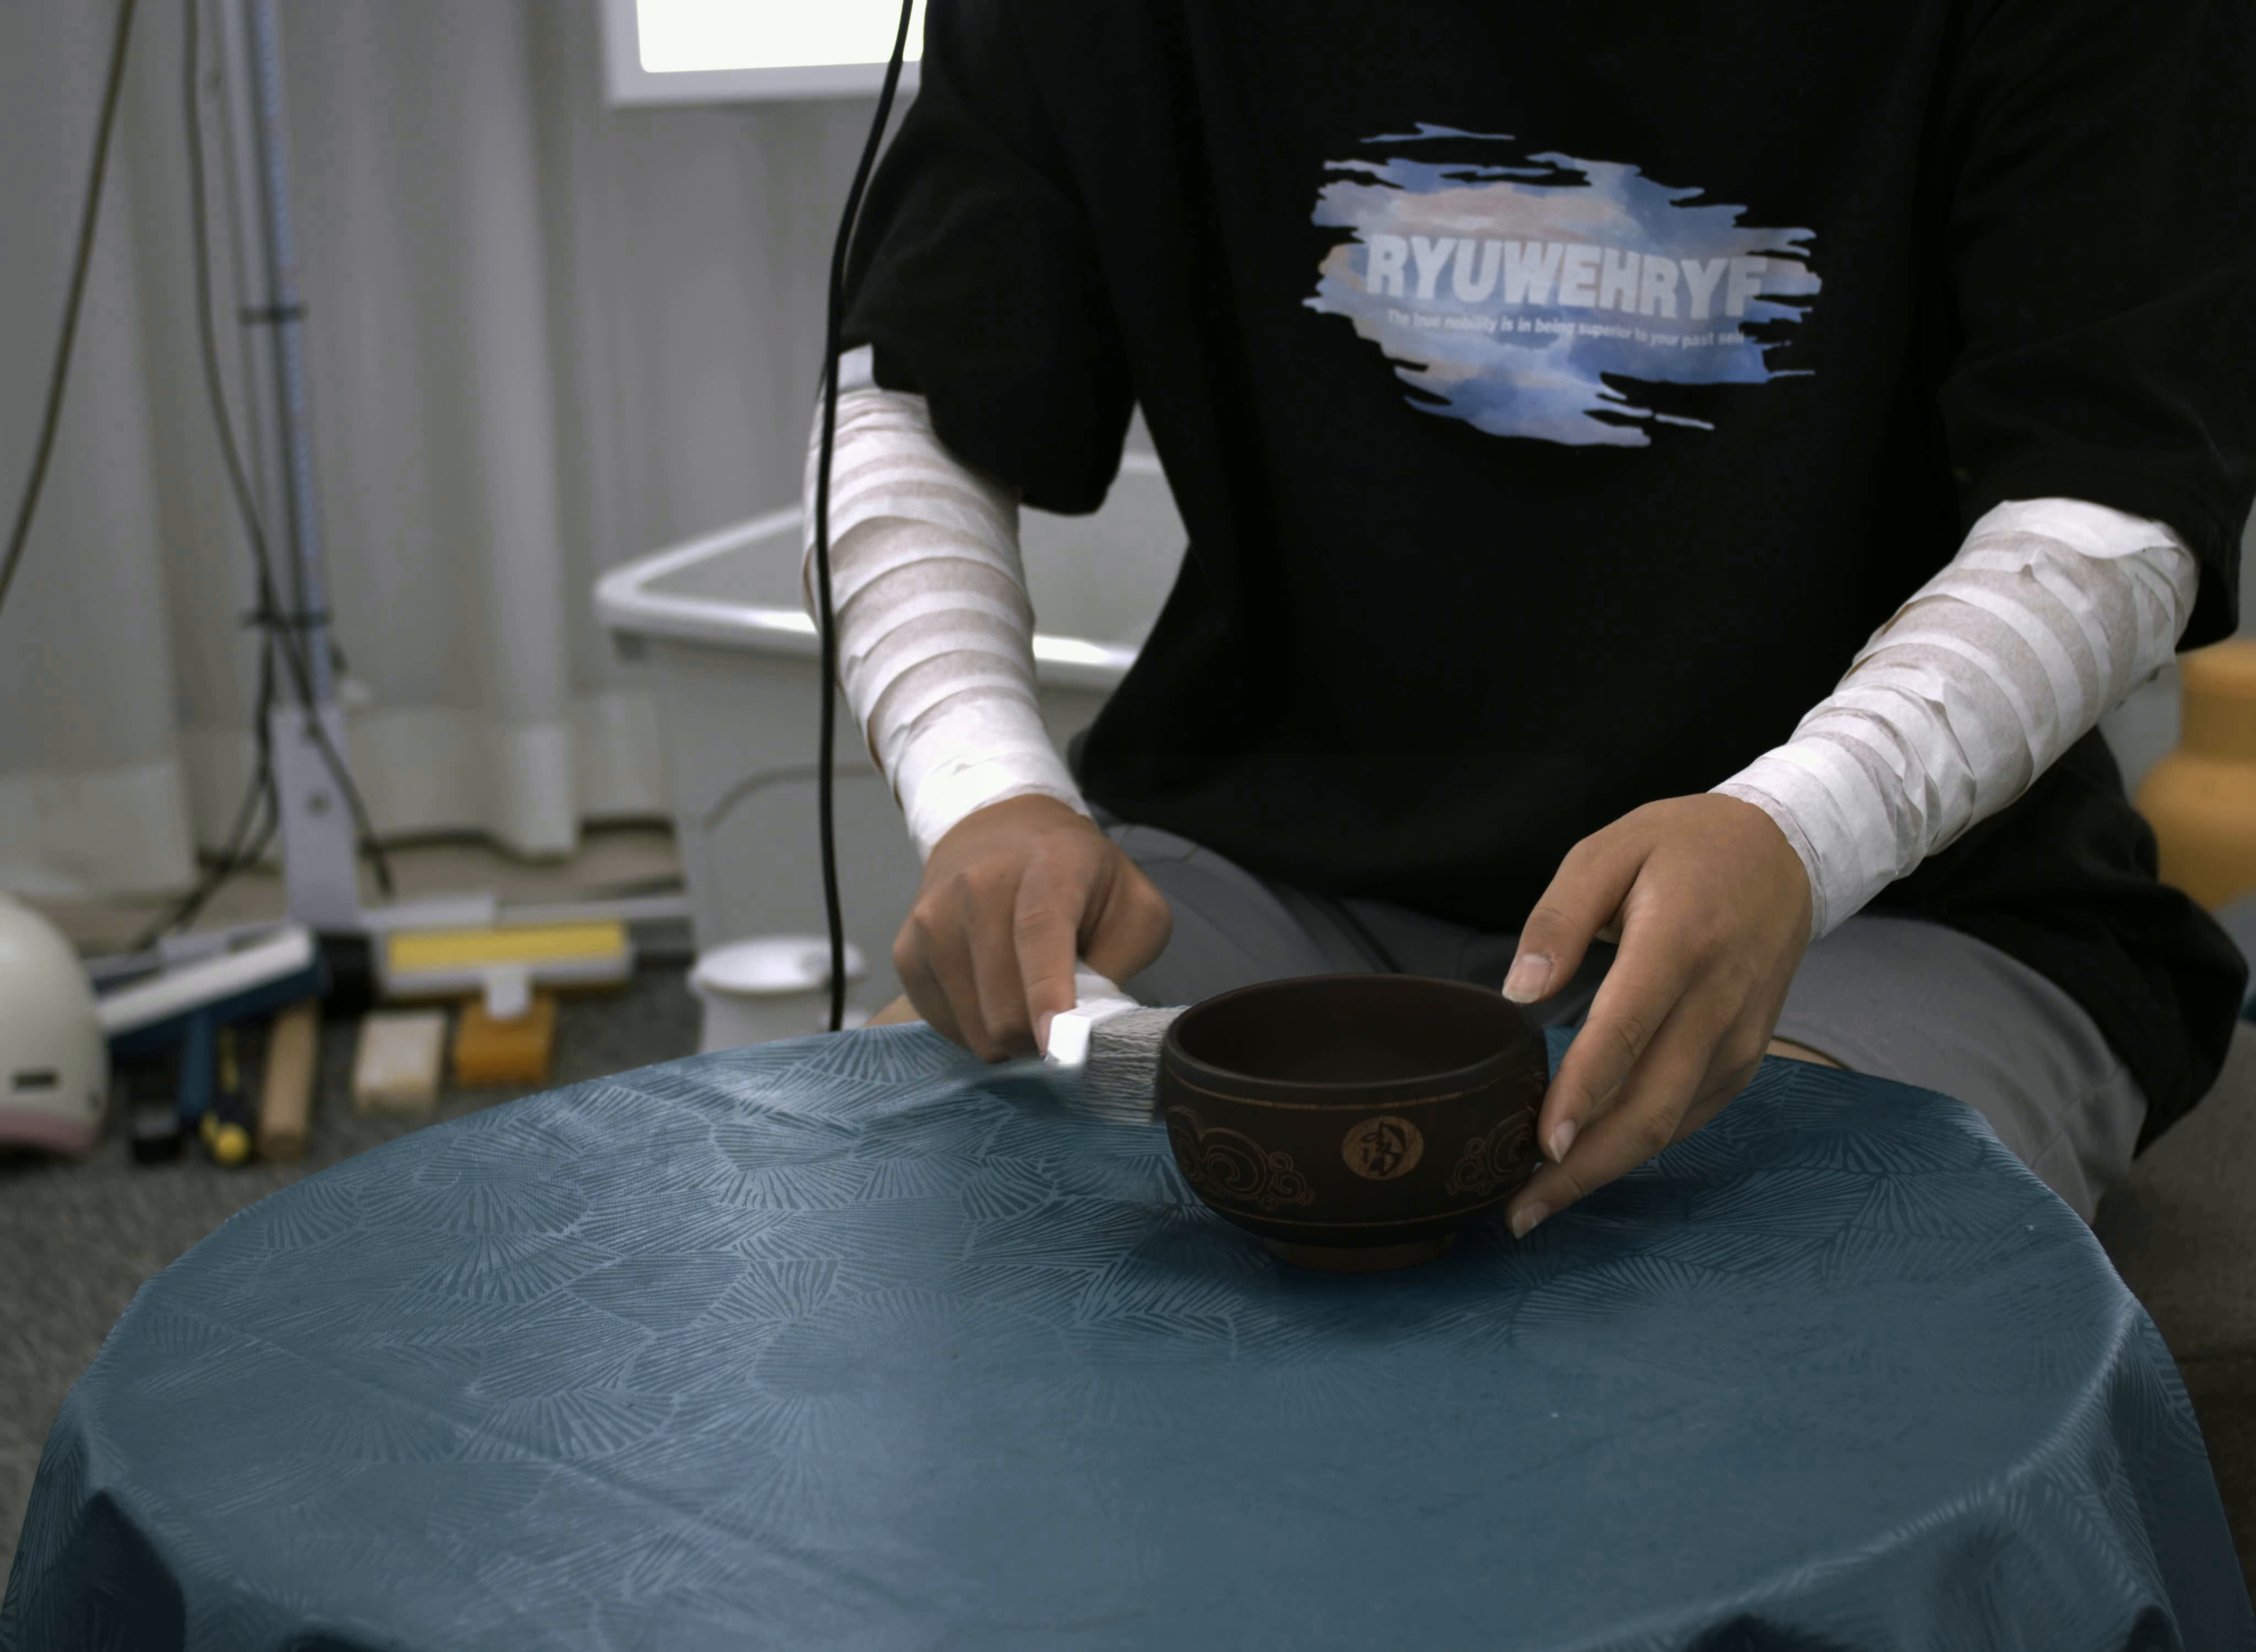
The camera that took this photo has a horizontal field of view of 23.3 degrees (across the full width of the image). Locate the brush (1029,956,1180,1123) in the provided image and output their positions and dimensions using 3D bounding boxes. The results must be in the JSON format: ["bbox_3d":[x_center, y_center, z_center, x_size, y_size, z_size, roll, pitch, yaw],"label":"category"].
[{"bbox_3d":[-0.003,0.066,1.763,0.050,0.034,0.244,8,4,0],"label":"brush"}]

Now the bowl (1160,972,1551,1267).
[{"bbox_3d":[0.069,0.092,1.645,0.117,0.069,0.118,-3,12,0],"label":"bowl"}]
